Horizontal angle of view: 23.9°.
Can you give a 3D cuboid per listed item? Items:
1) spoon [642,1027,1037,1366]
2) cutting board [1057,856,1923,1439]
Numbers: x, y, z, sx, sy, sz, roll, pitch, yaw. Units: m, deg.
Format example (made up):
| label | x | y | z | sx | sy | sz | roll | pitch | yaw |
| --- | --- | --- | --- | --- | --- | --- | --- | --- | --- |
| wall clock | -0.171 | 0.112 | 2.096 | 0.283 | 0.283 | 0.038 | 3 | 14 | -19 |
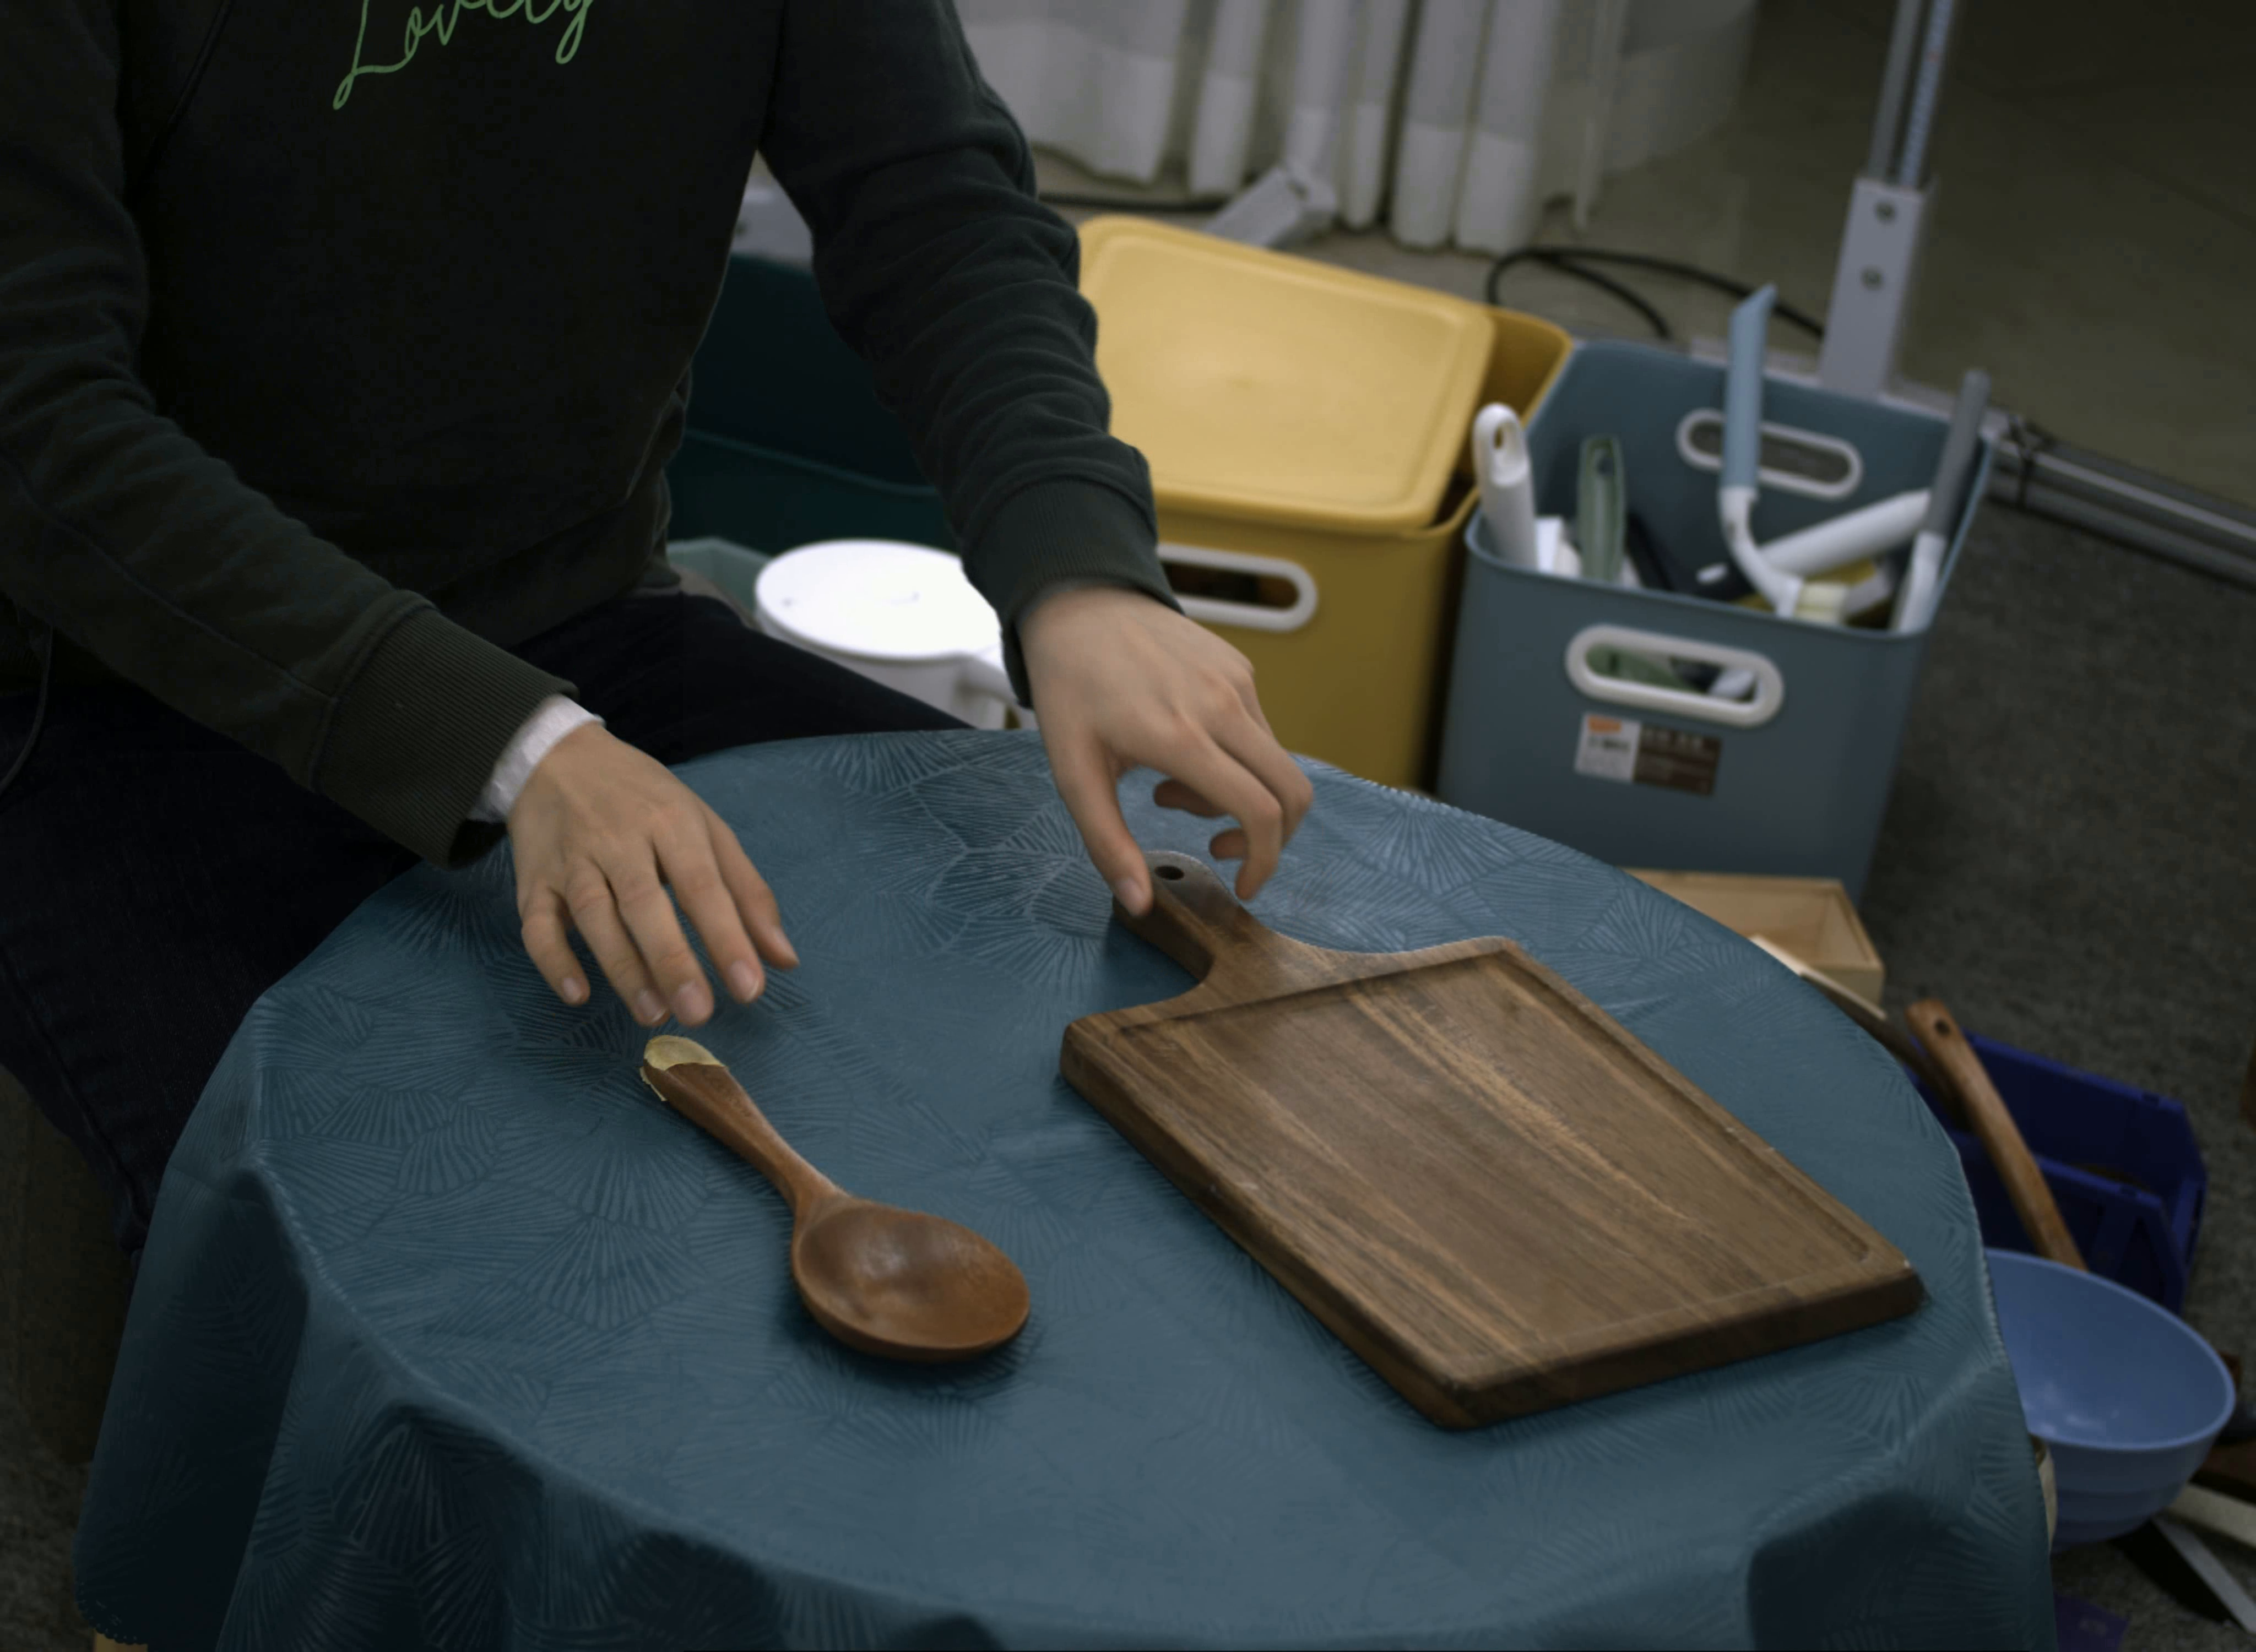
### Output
| label | x | y | z | sx | sy | sz | roll | pitch | yaw |
| --- | --- | --- | --- | --- | --- | --- | --- | --- | --- |
| spoon | -0.103 | 0.123 | 1.759 | 0.075 | 0.017 | 0.218 | -13 | 33 | -30 |
| cutting board | 0.095 | 0.096 | 1.857 | 0.200 | 0.023 | 0.355 | -11 | 31 | -29 |
